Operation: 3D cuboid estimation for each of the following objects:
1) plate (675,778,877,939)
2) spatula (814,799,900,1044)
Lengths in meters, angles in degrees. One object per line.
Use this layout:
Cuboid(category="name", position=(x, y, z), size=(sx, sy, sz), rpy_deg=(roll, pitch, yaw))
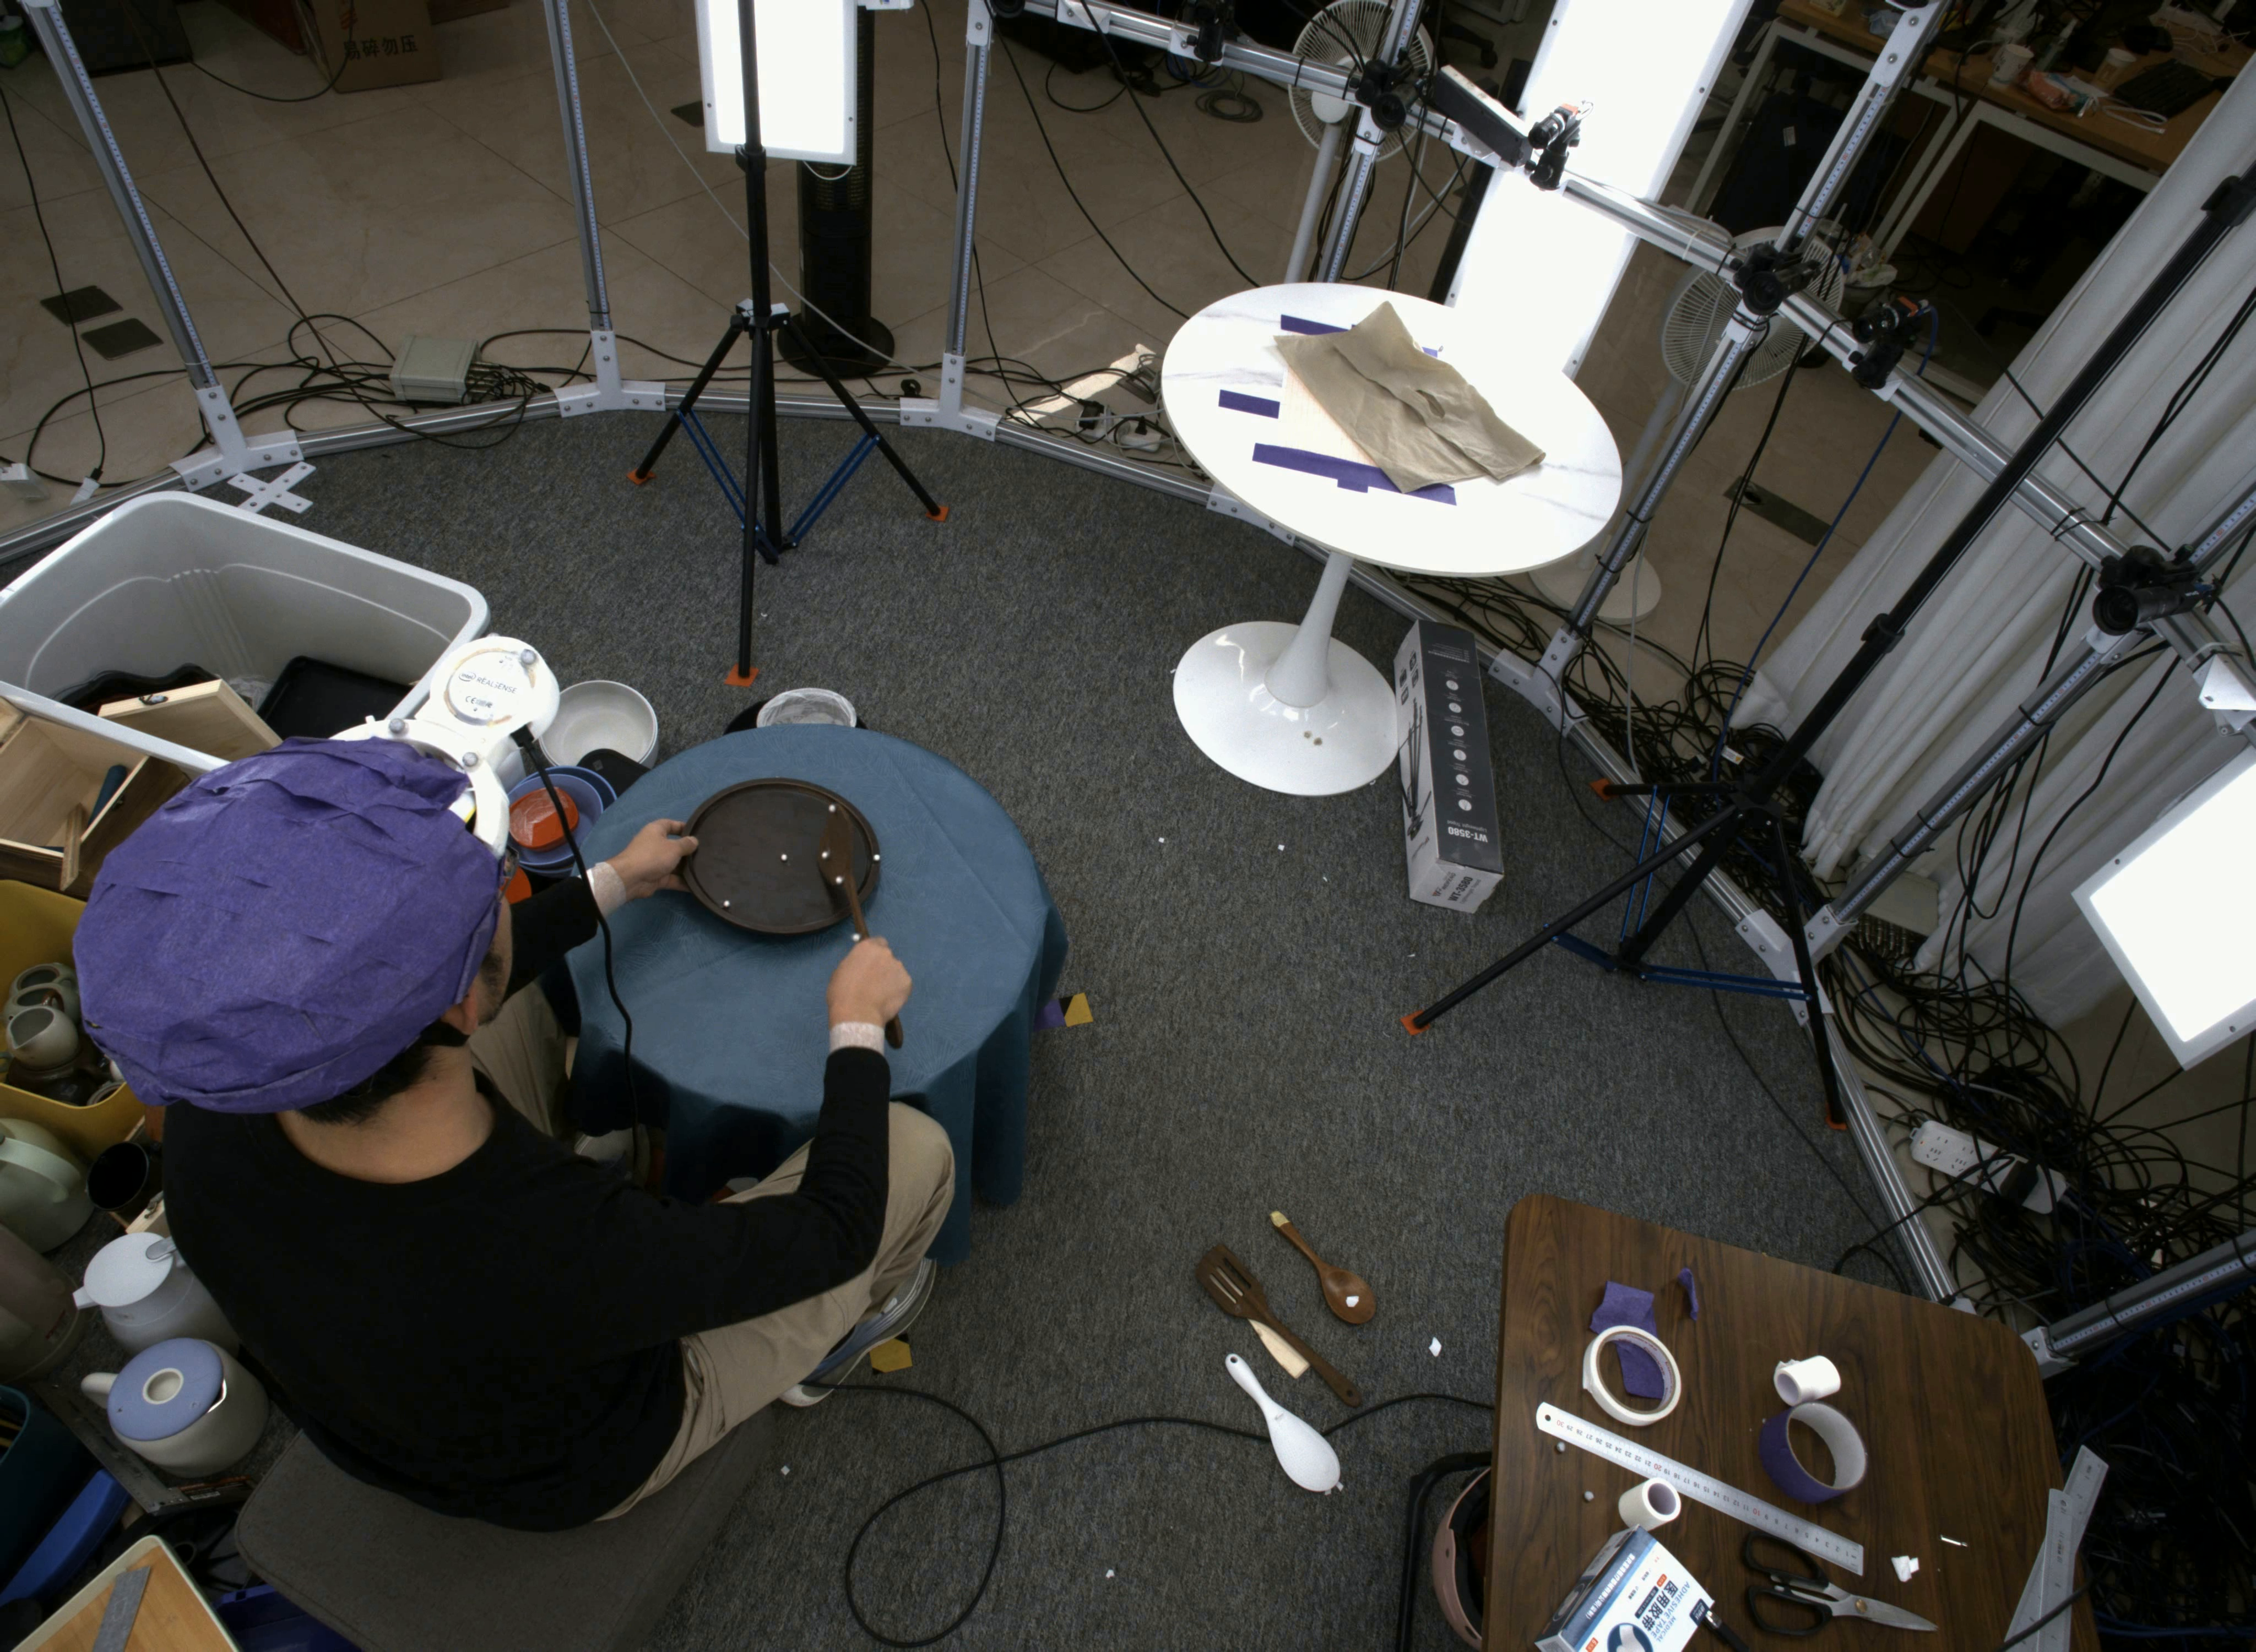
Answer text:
Cuboid(category="plate", position=(-0.449, 0.038, 1.654), size=(0.256, 0.029, 0.250), rpy_deg=(13, 48, -13))
Cuboid(category="spatula", position=(-0.322, 0.111, 1.535), size=(0.016, 0.097, 0.373), rpy_deg=(5, 37, -31))
